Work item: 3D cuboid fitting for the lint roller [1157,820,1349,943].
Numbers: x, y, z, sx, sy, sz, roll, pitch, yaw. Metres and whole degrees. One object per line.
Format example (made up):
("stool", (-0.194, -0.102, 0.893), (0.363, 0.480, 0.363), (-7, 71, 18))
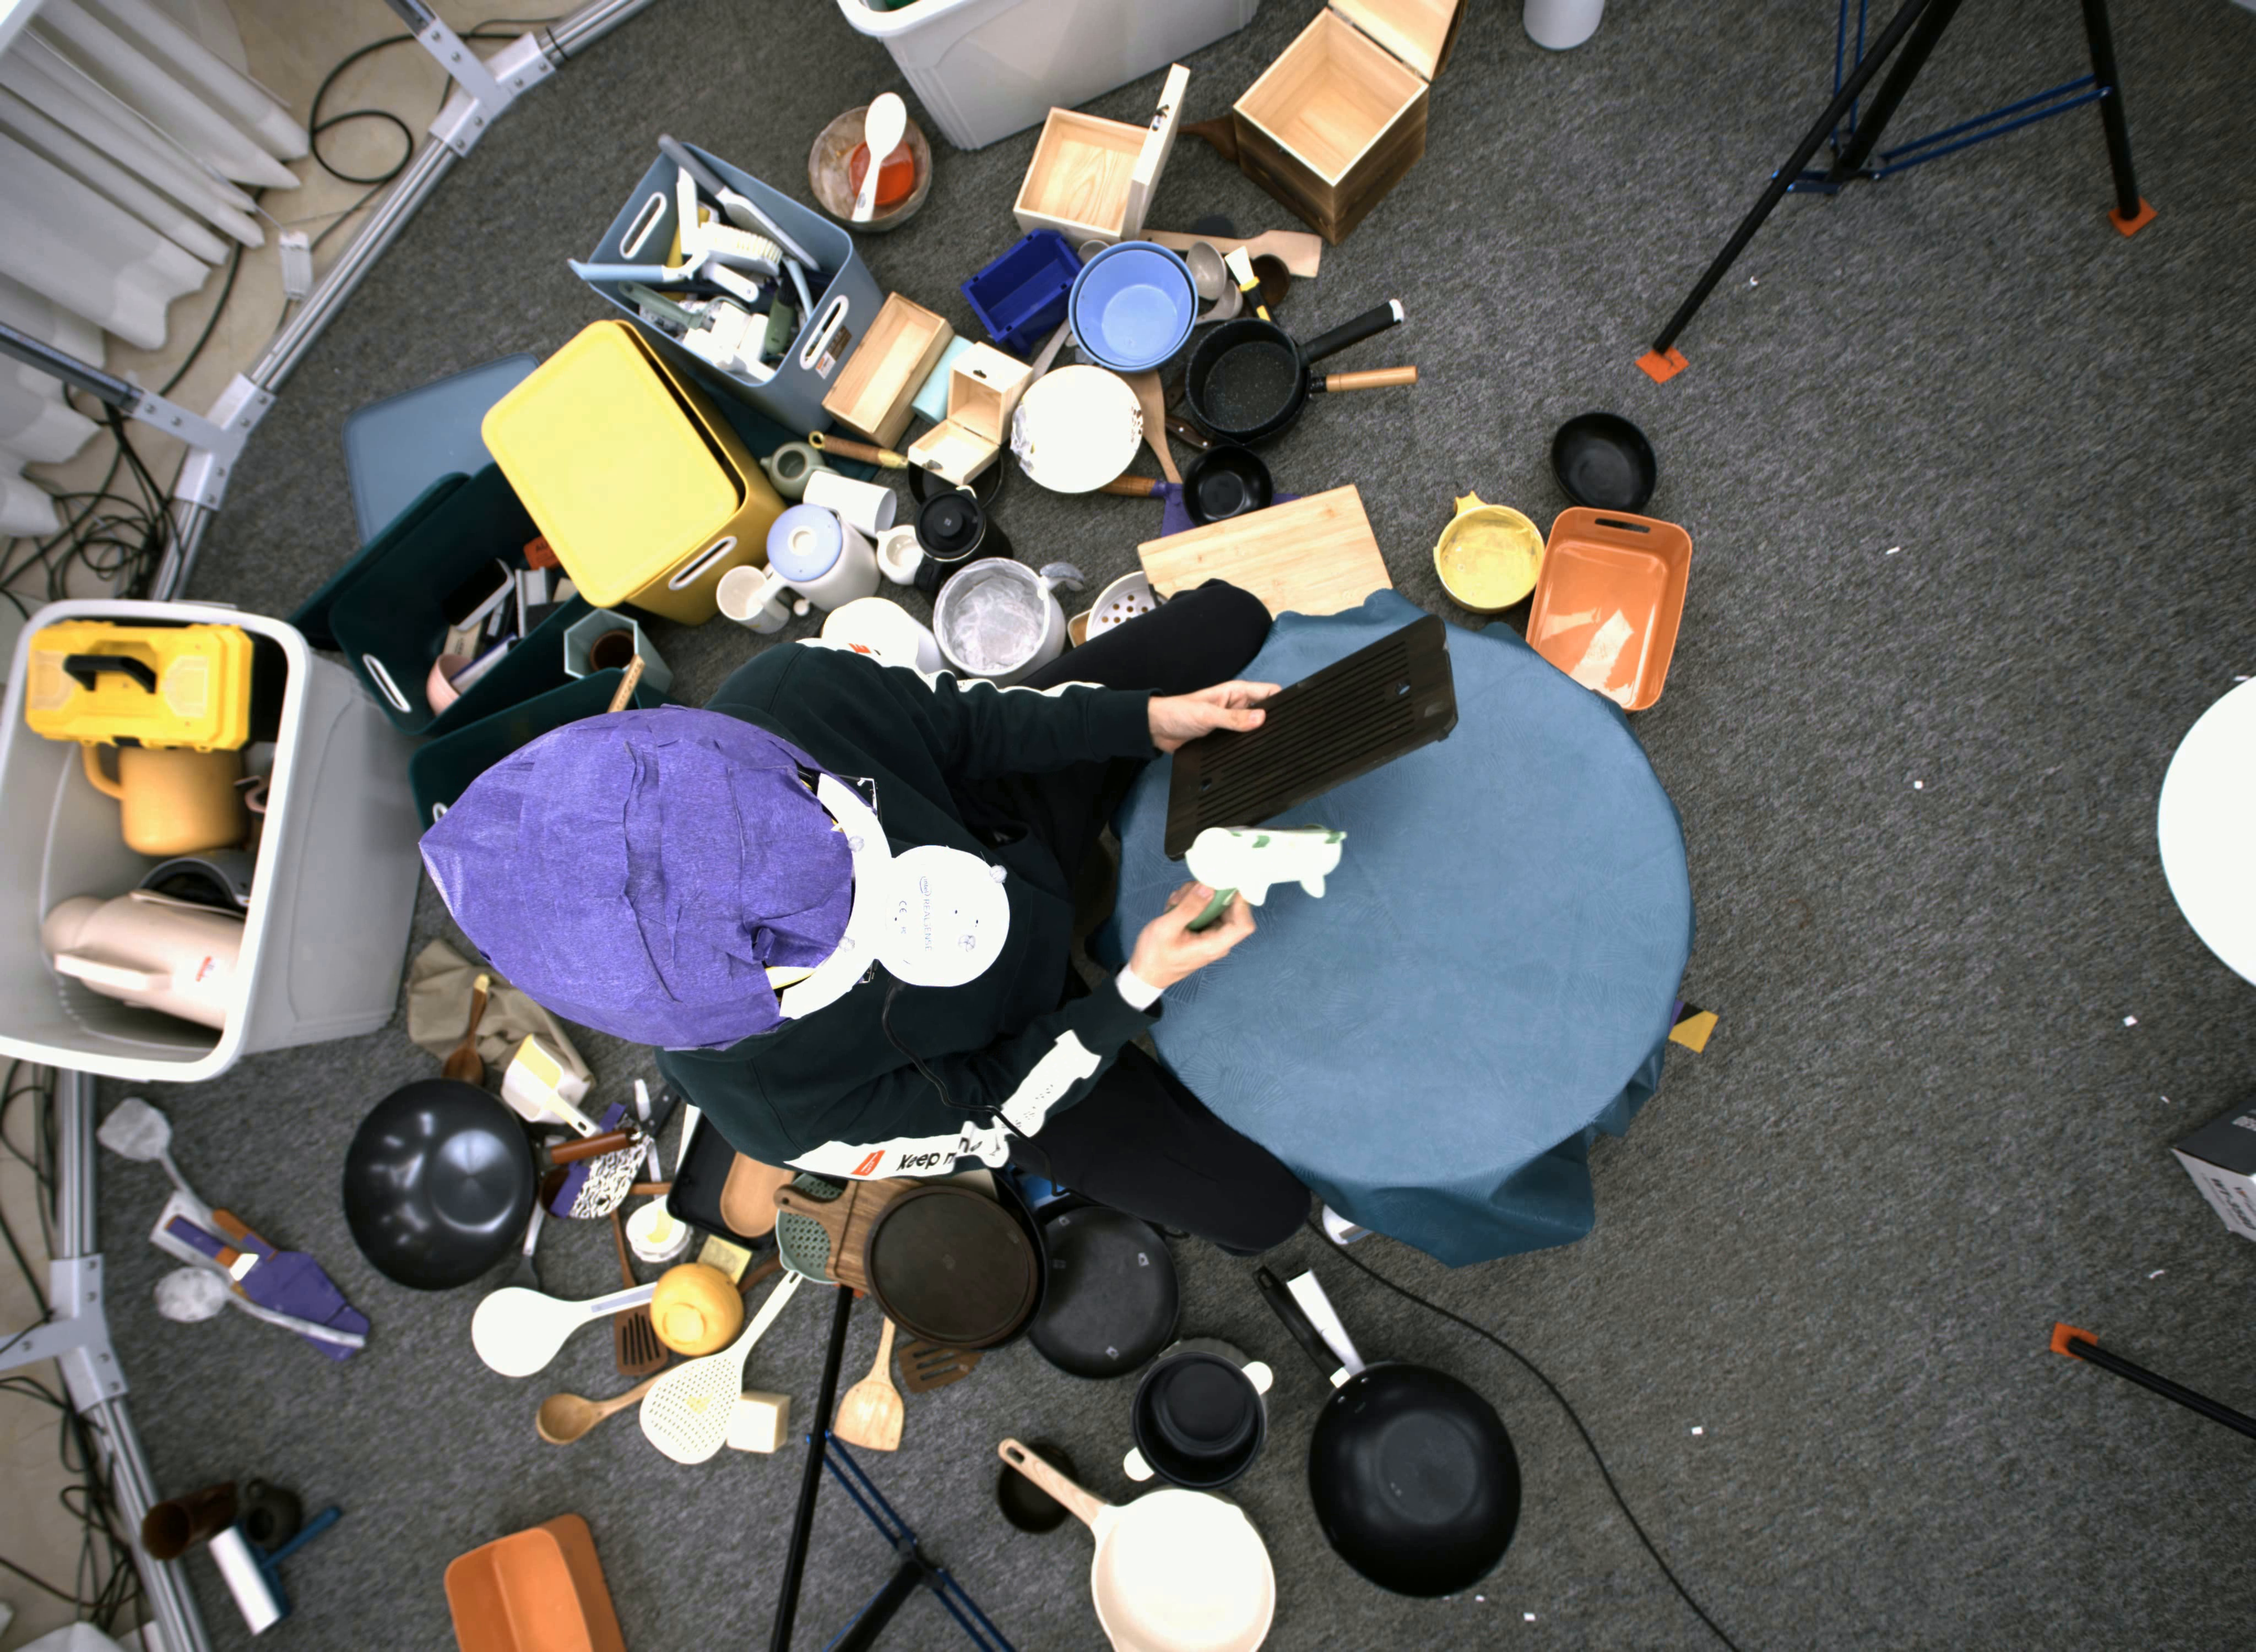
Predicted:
("lint roller", (0.103, 0.067, 1.281), (0.187, 0.197, 0.081), (-49, 65, 26))

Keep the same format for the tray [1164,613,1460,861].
("tray", (0.165, -0.081, 1.282), (0.311, 0.165, 0.019), (-26, 127, 29))
